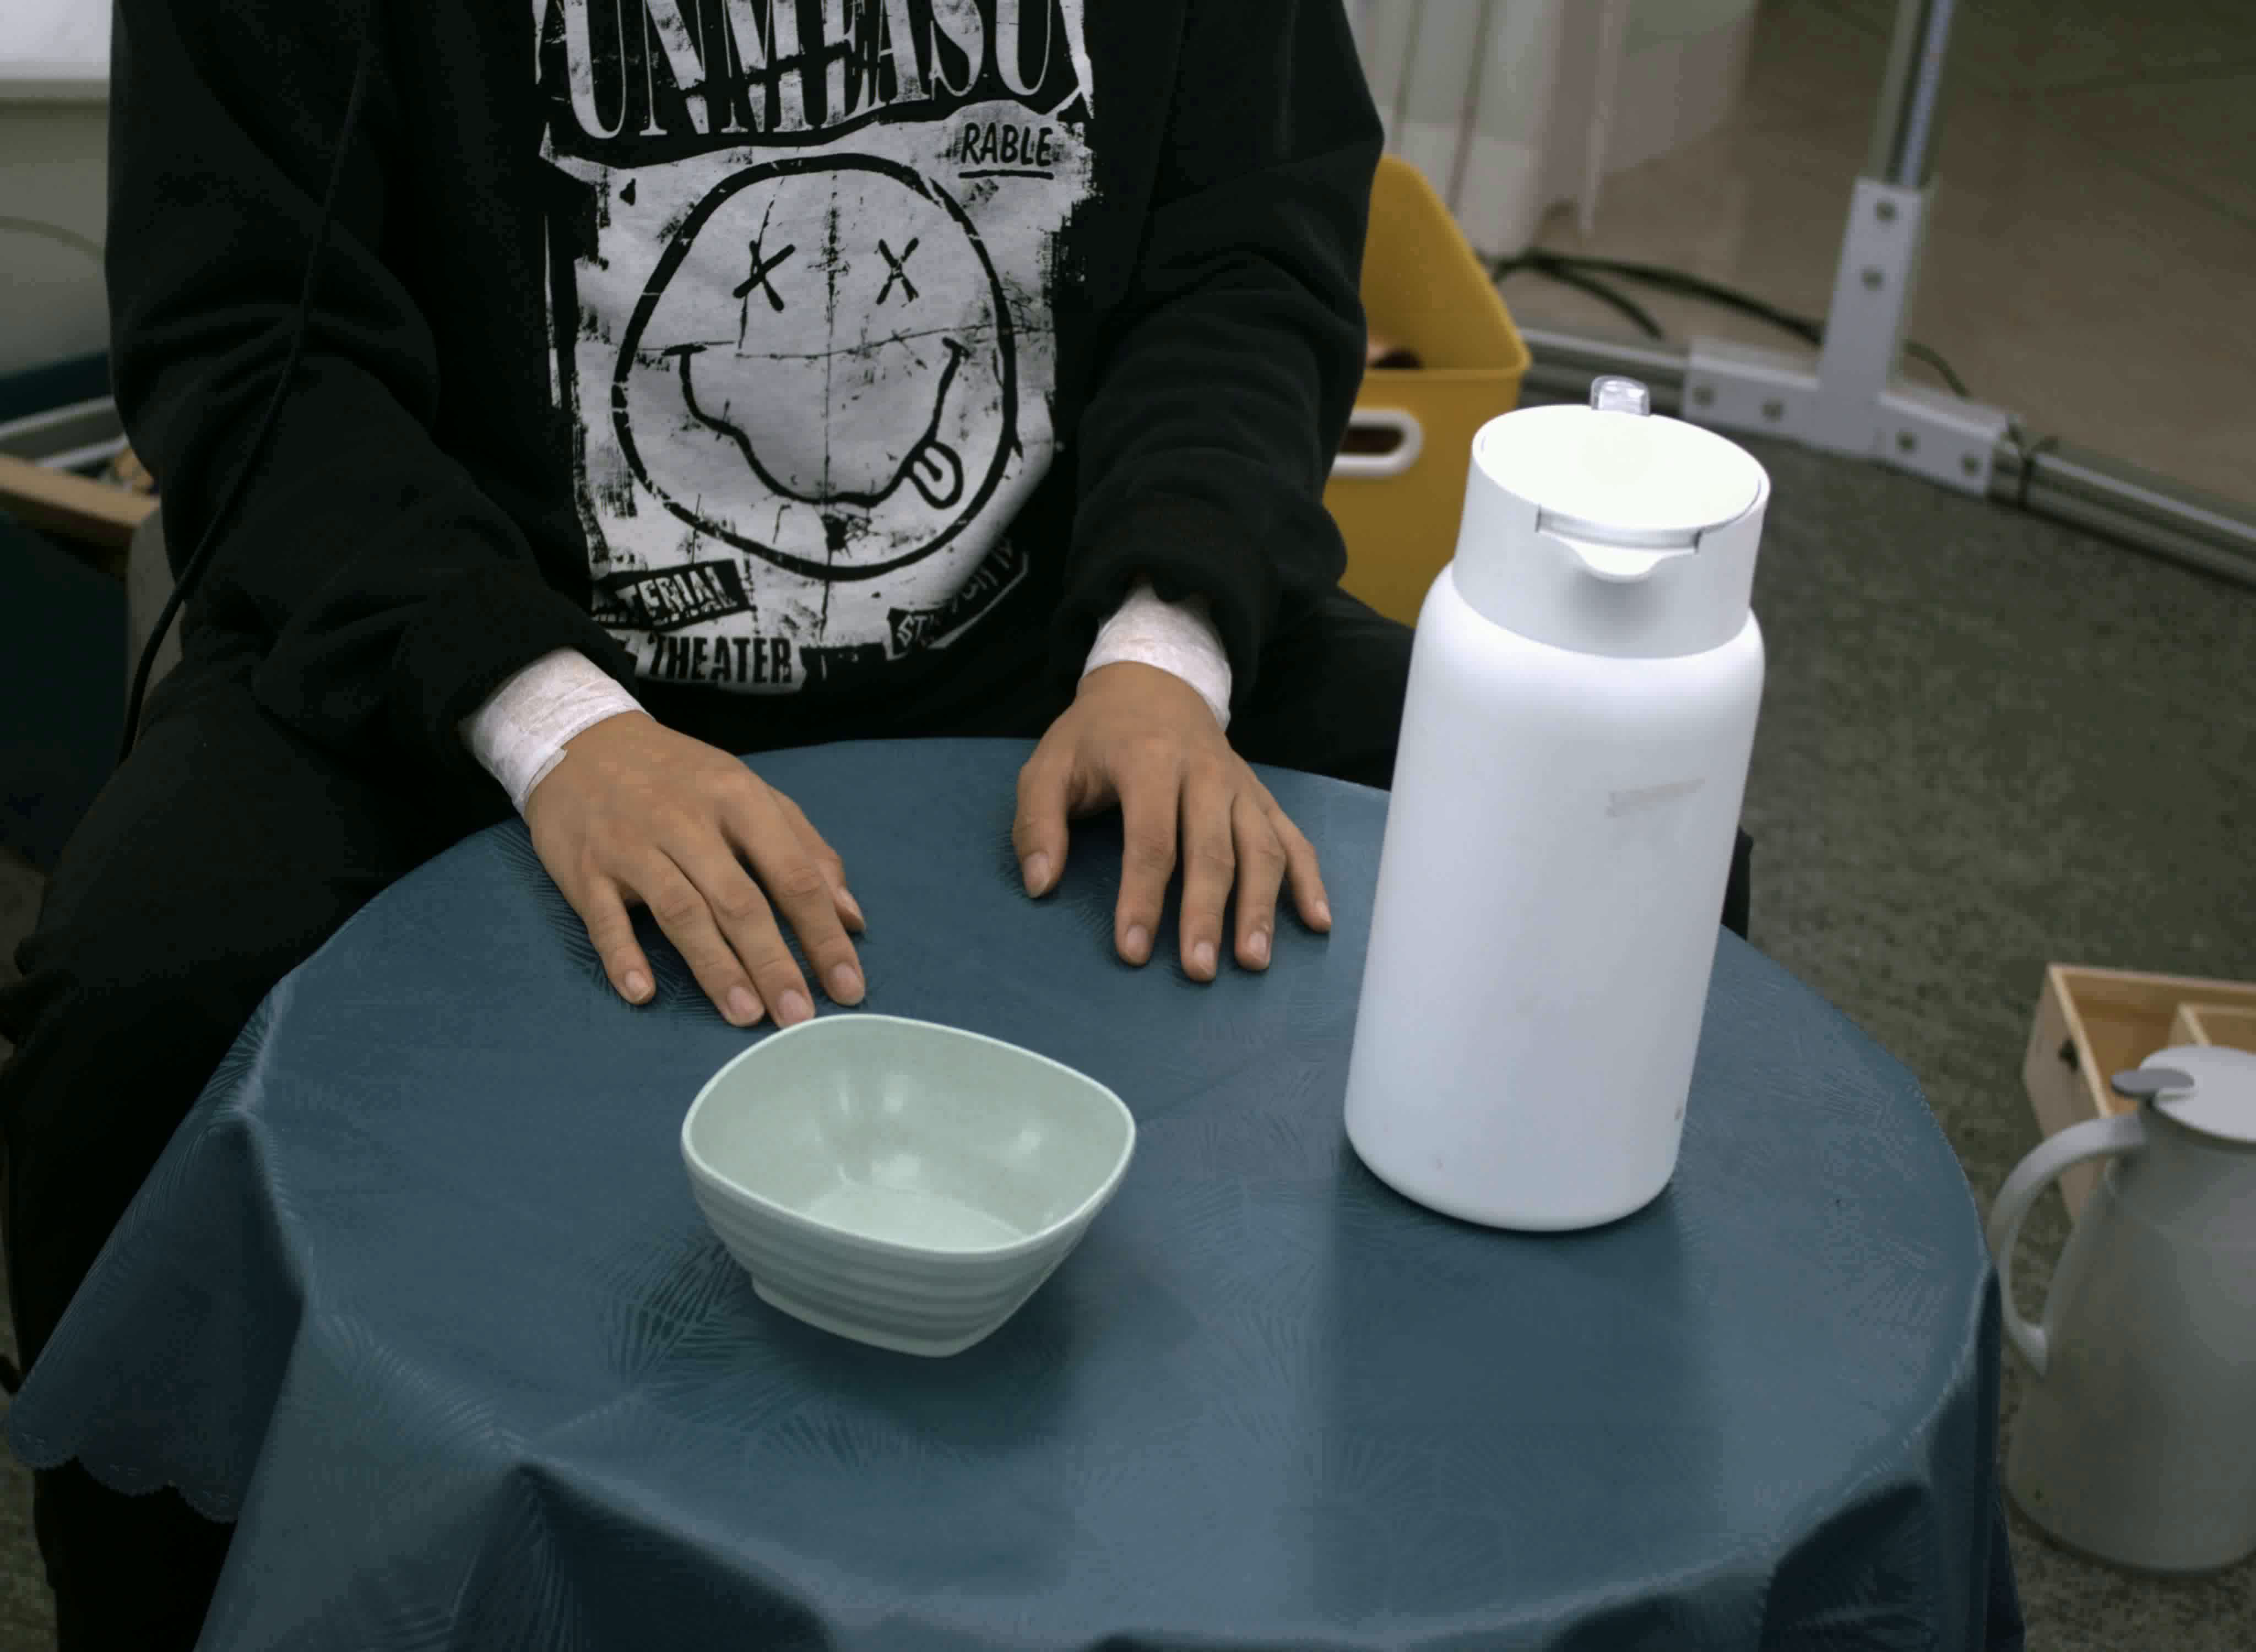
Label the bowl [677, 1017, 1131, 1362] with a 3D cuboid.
[{"bbox_3d":[-0.075,0.124,1.730,0.151,0.058,0.152,5,27,-3],"label":"bowl"}]

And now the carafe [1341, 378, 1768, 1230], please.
[{"bbox_3d":[0.145,-0.011,1.809,0.123,0.268,0.174,5,27,1],"label":"carafe"}]
